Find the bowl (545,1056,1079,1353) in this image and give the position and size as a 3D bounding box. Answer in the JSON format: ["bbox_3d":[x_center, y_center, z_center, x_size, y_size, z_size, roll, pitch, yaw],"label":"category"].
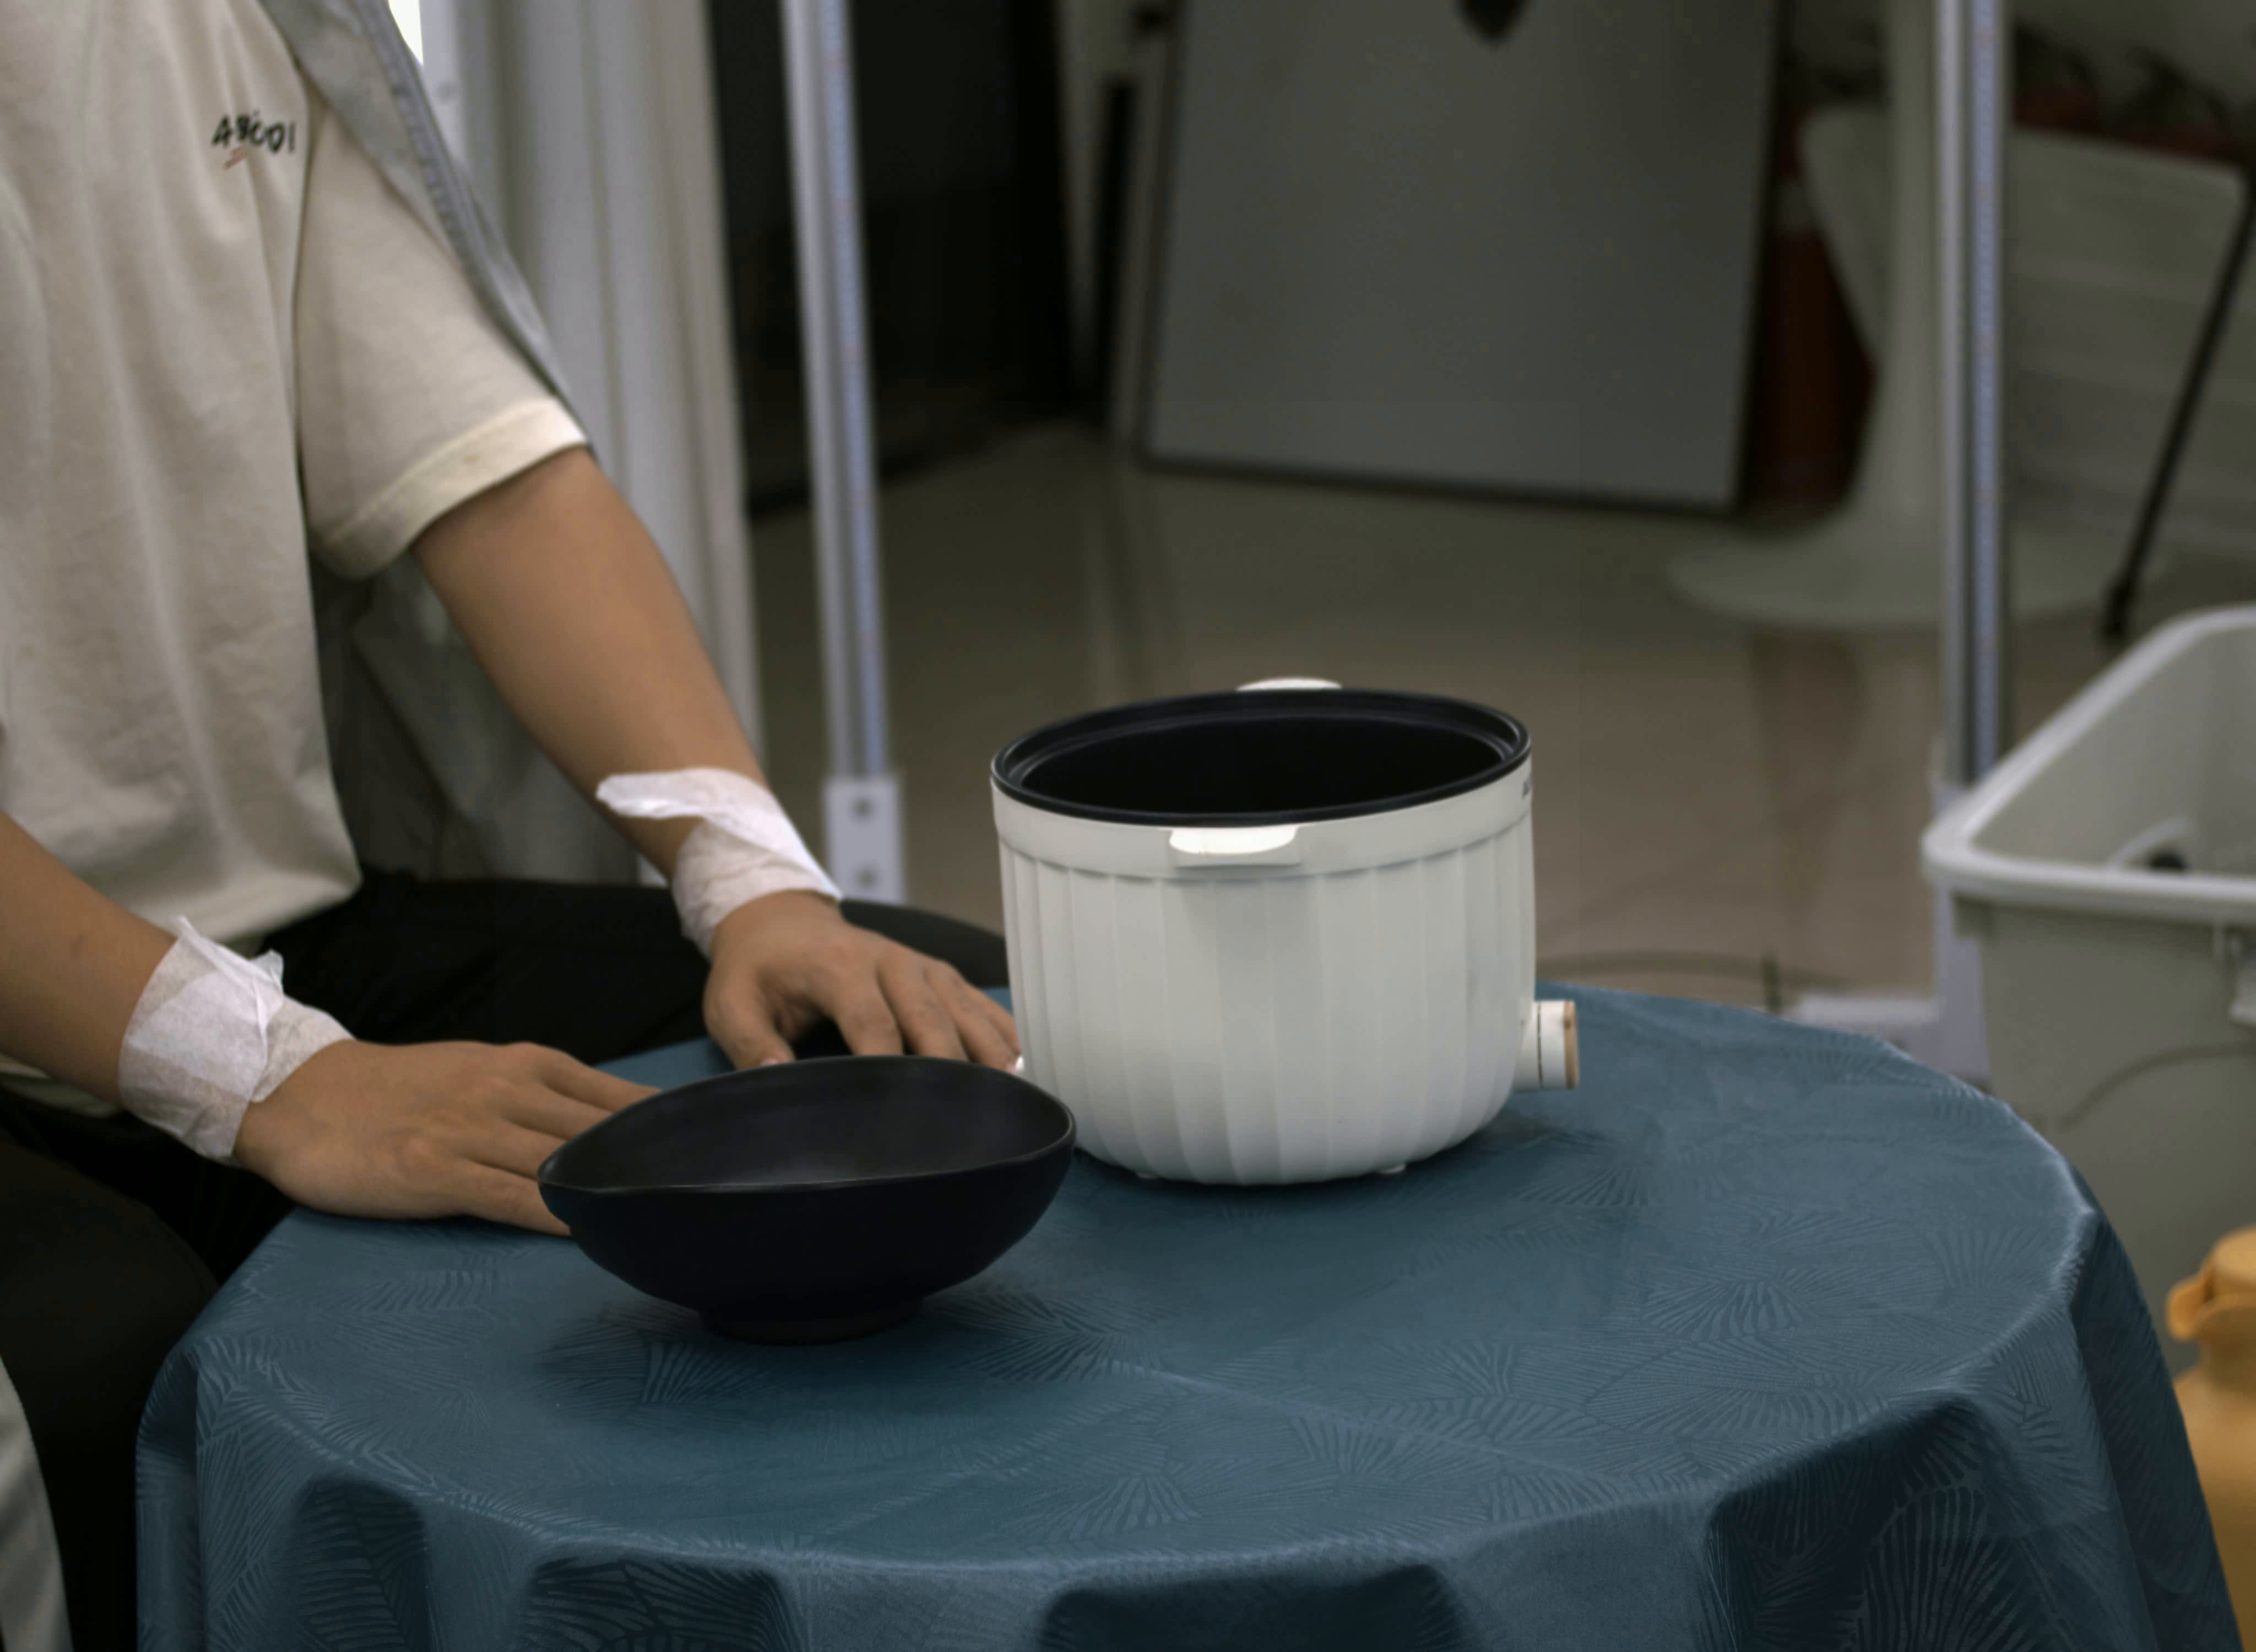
[{"bbox_3d":[-0.097,0.122,1.667,0.169,0.067,0.137,-3,13,8],"label":"bowl"}]

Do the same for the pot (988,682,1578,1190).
[{"bbox_3d":[0.053,0.038,1.807,0.189,0.144,0.240,-5,14,8],"label":"pot"}]
